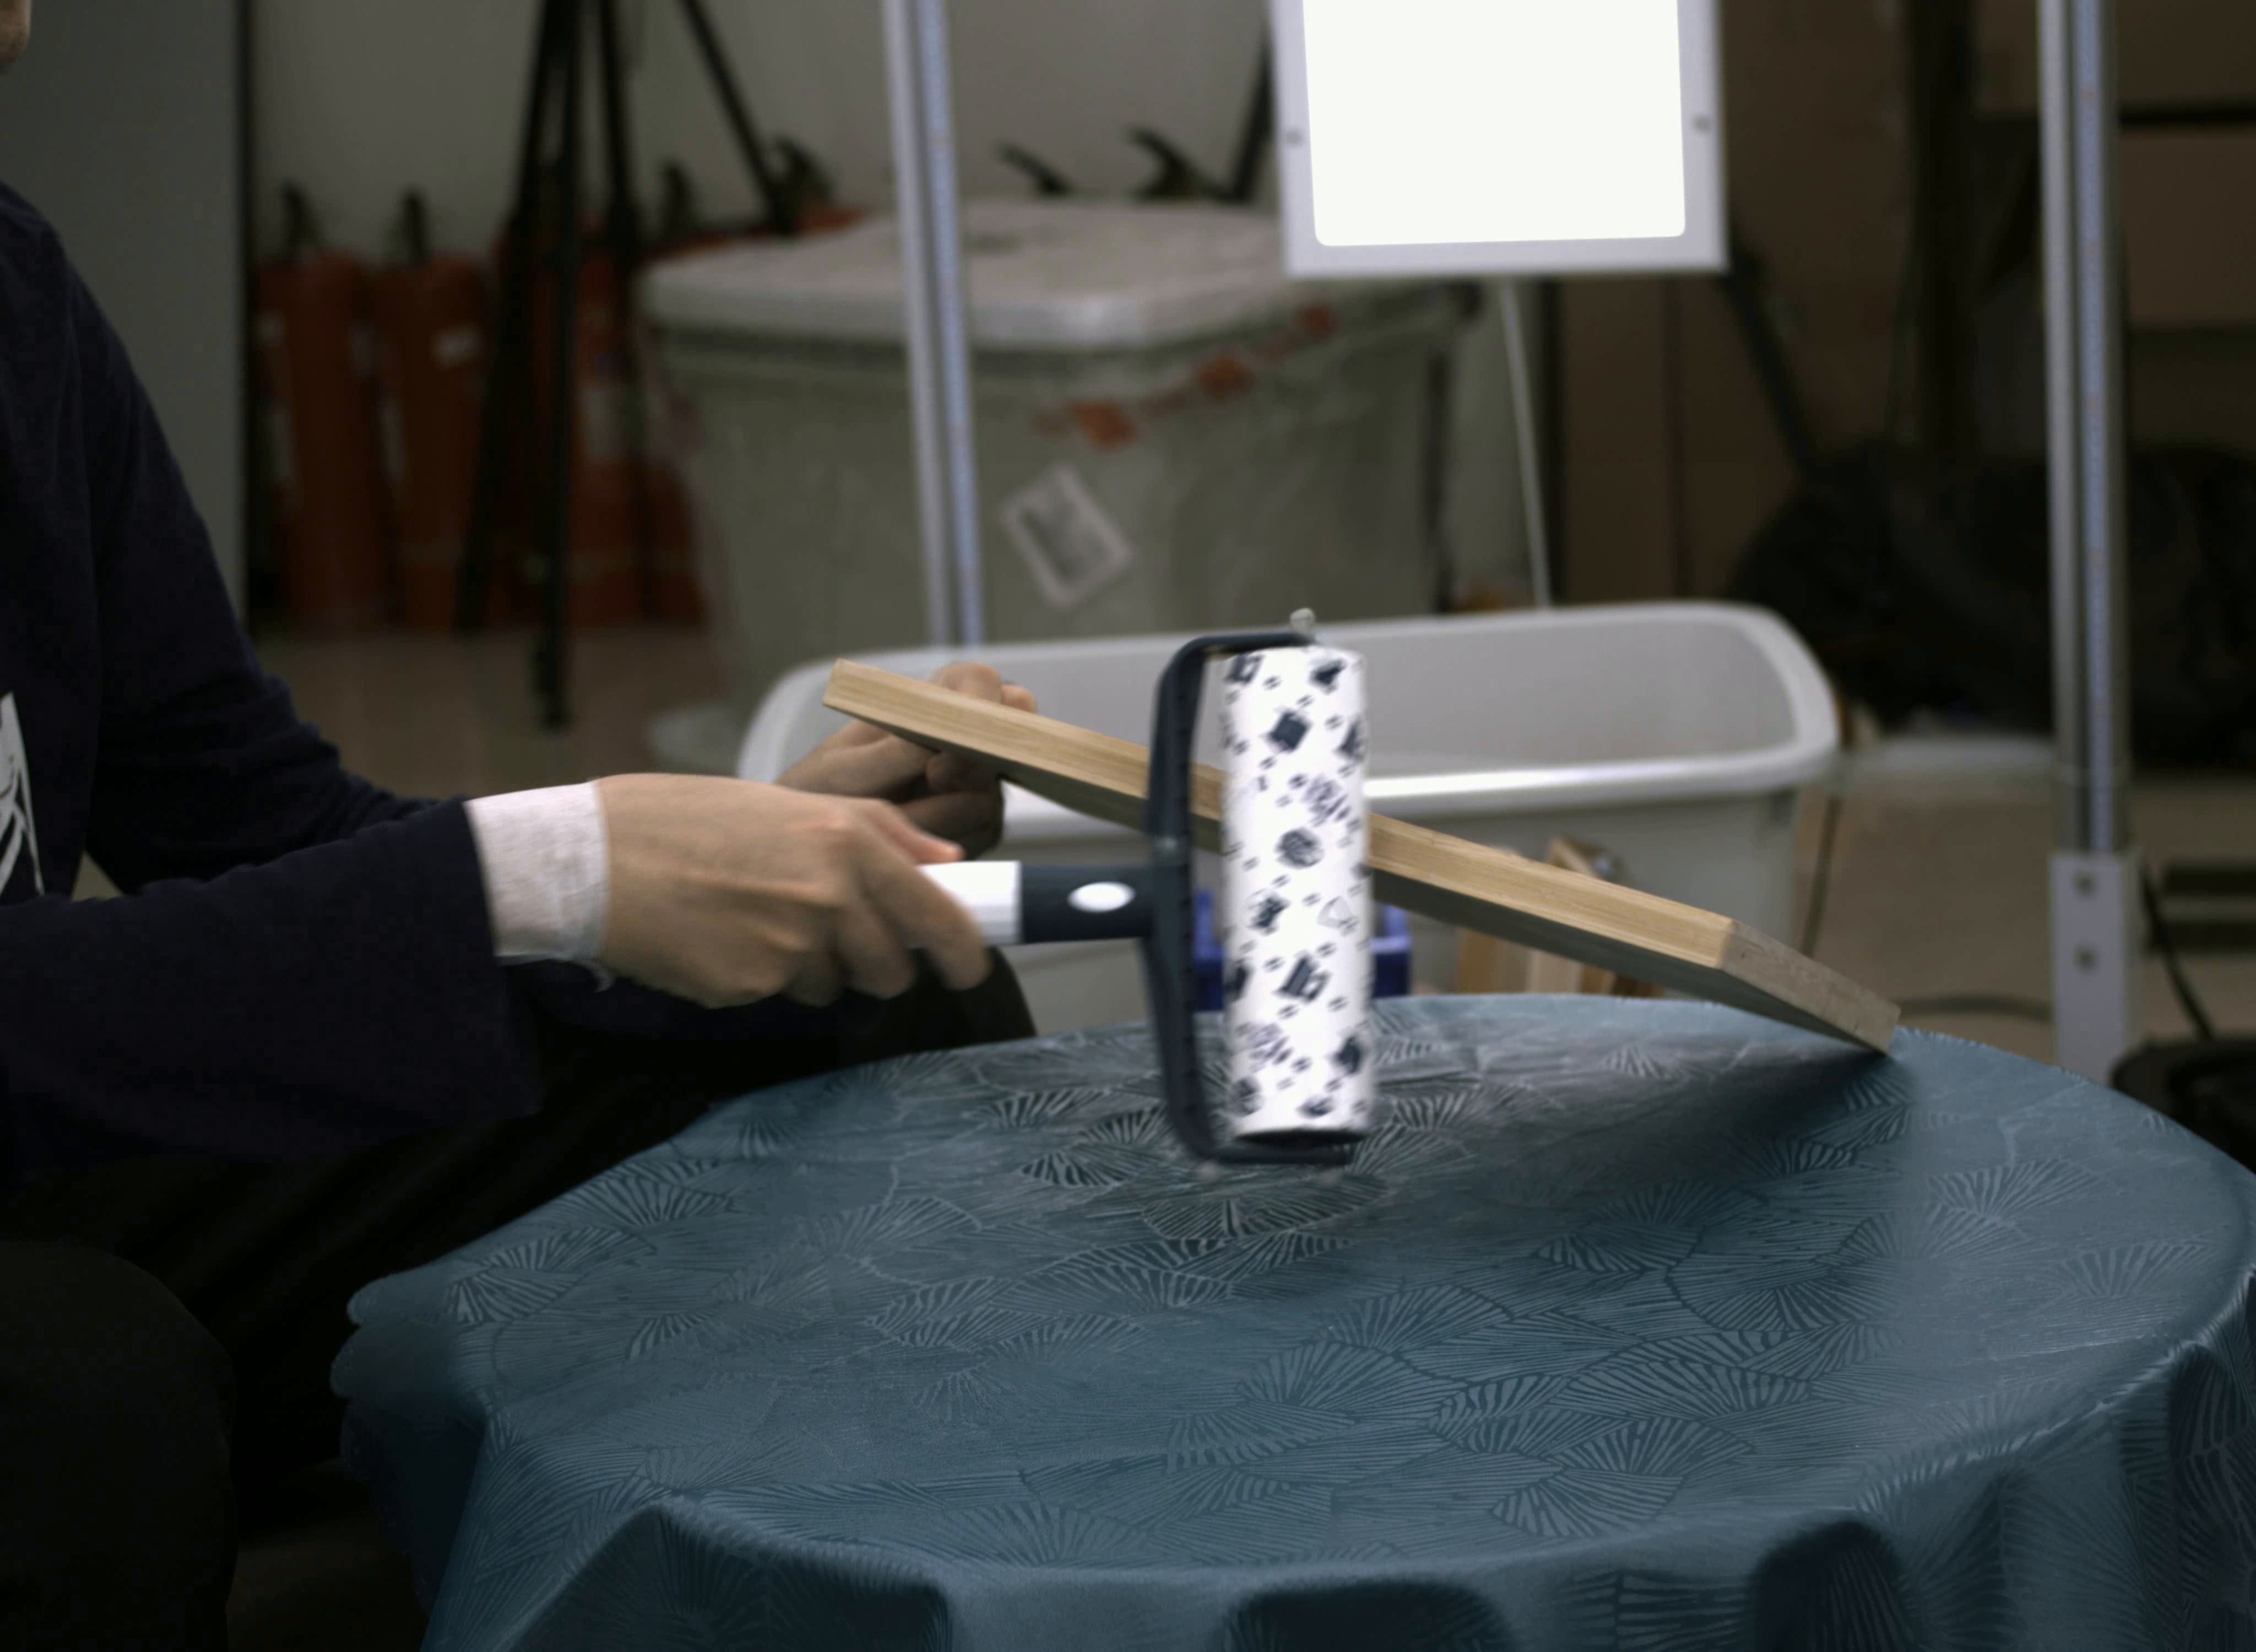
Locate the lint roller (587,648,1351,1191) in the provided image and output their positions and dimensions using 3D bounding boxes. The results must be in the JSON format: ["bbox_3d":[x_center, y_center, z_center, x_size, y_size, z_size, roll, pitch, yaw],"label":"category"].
[{"bbox_3d":[-0.055,0.022,1.803,0.246,0.176,0.050,5,-11,2],"label":"lint roller"}]

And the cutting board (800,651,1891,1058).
[{"bbox_3d":[0.081,0.011,1.951,0.353,0.023,0.247,17,-3,24],"label":"cutting board"}]
